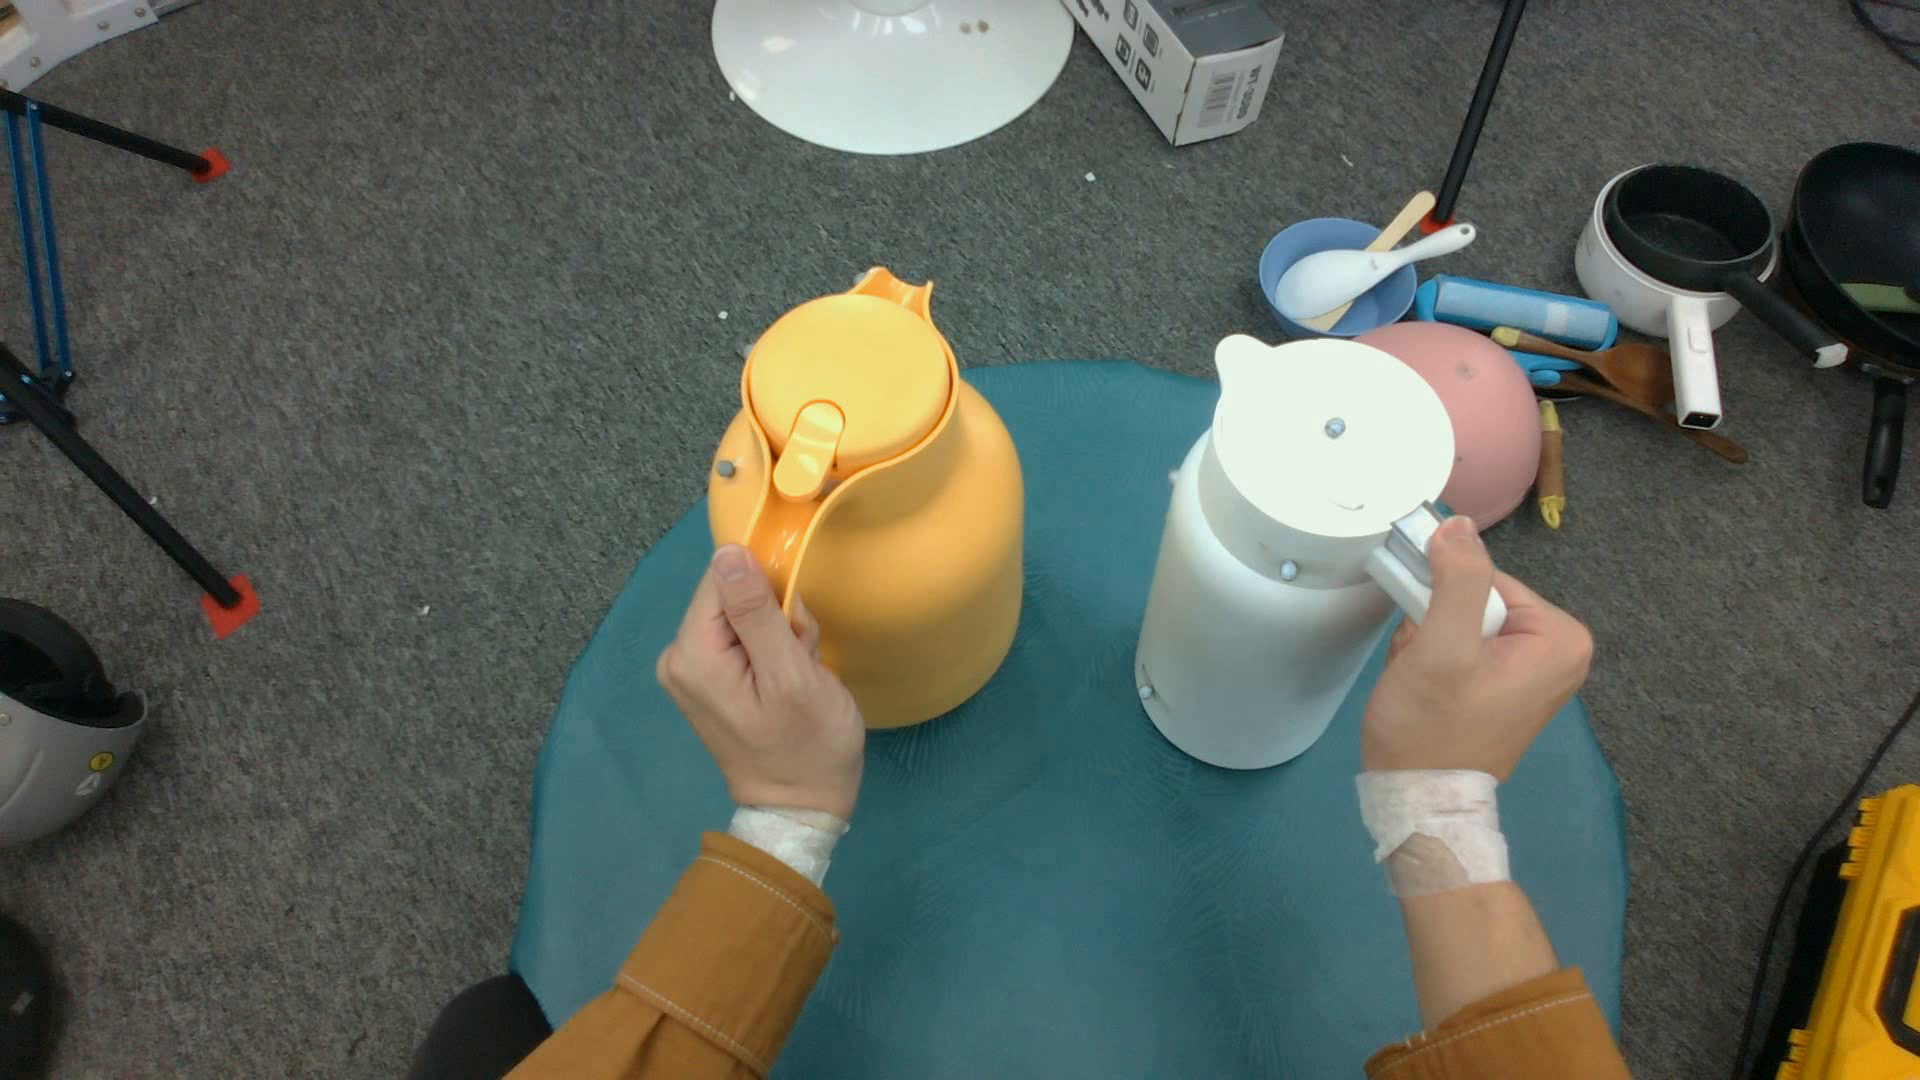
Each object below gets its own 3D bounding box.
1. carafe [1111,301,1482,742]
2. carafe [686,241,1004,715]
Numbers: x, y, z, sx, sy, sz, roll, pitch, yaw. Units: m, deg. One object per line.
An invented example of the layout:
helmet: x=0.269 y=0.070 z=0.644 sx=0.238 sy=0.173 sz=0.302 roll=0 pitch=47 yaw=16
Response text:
carafe: x=0.158 y=0.017 z=0.685 sx=0.124 sy=0.267 sz=0.173 roll=-31 pitch=67 yaw=-18
carafe: x=-0.066 y=-0.010 z=0.700 sx=0.163 sy=0.259 sz=0.203 roll=18 pitch=61 yaw=12
